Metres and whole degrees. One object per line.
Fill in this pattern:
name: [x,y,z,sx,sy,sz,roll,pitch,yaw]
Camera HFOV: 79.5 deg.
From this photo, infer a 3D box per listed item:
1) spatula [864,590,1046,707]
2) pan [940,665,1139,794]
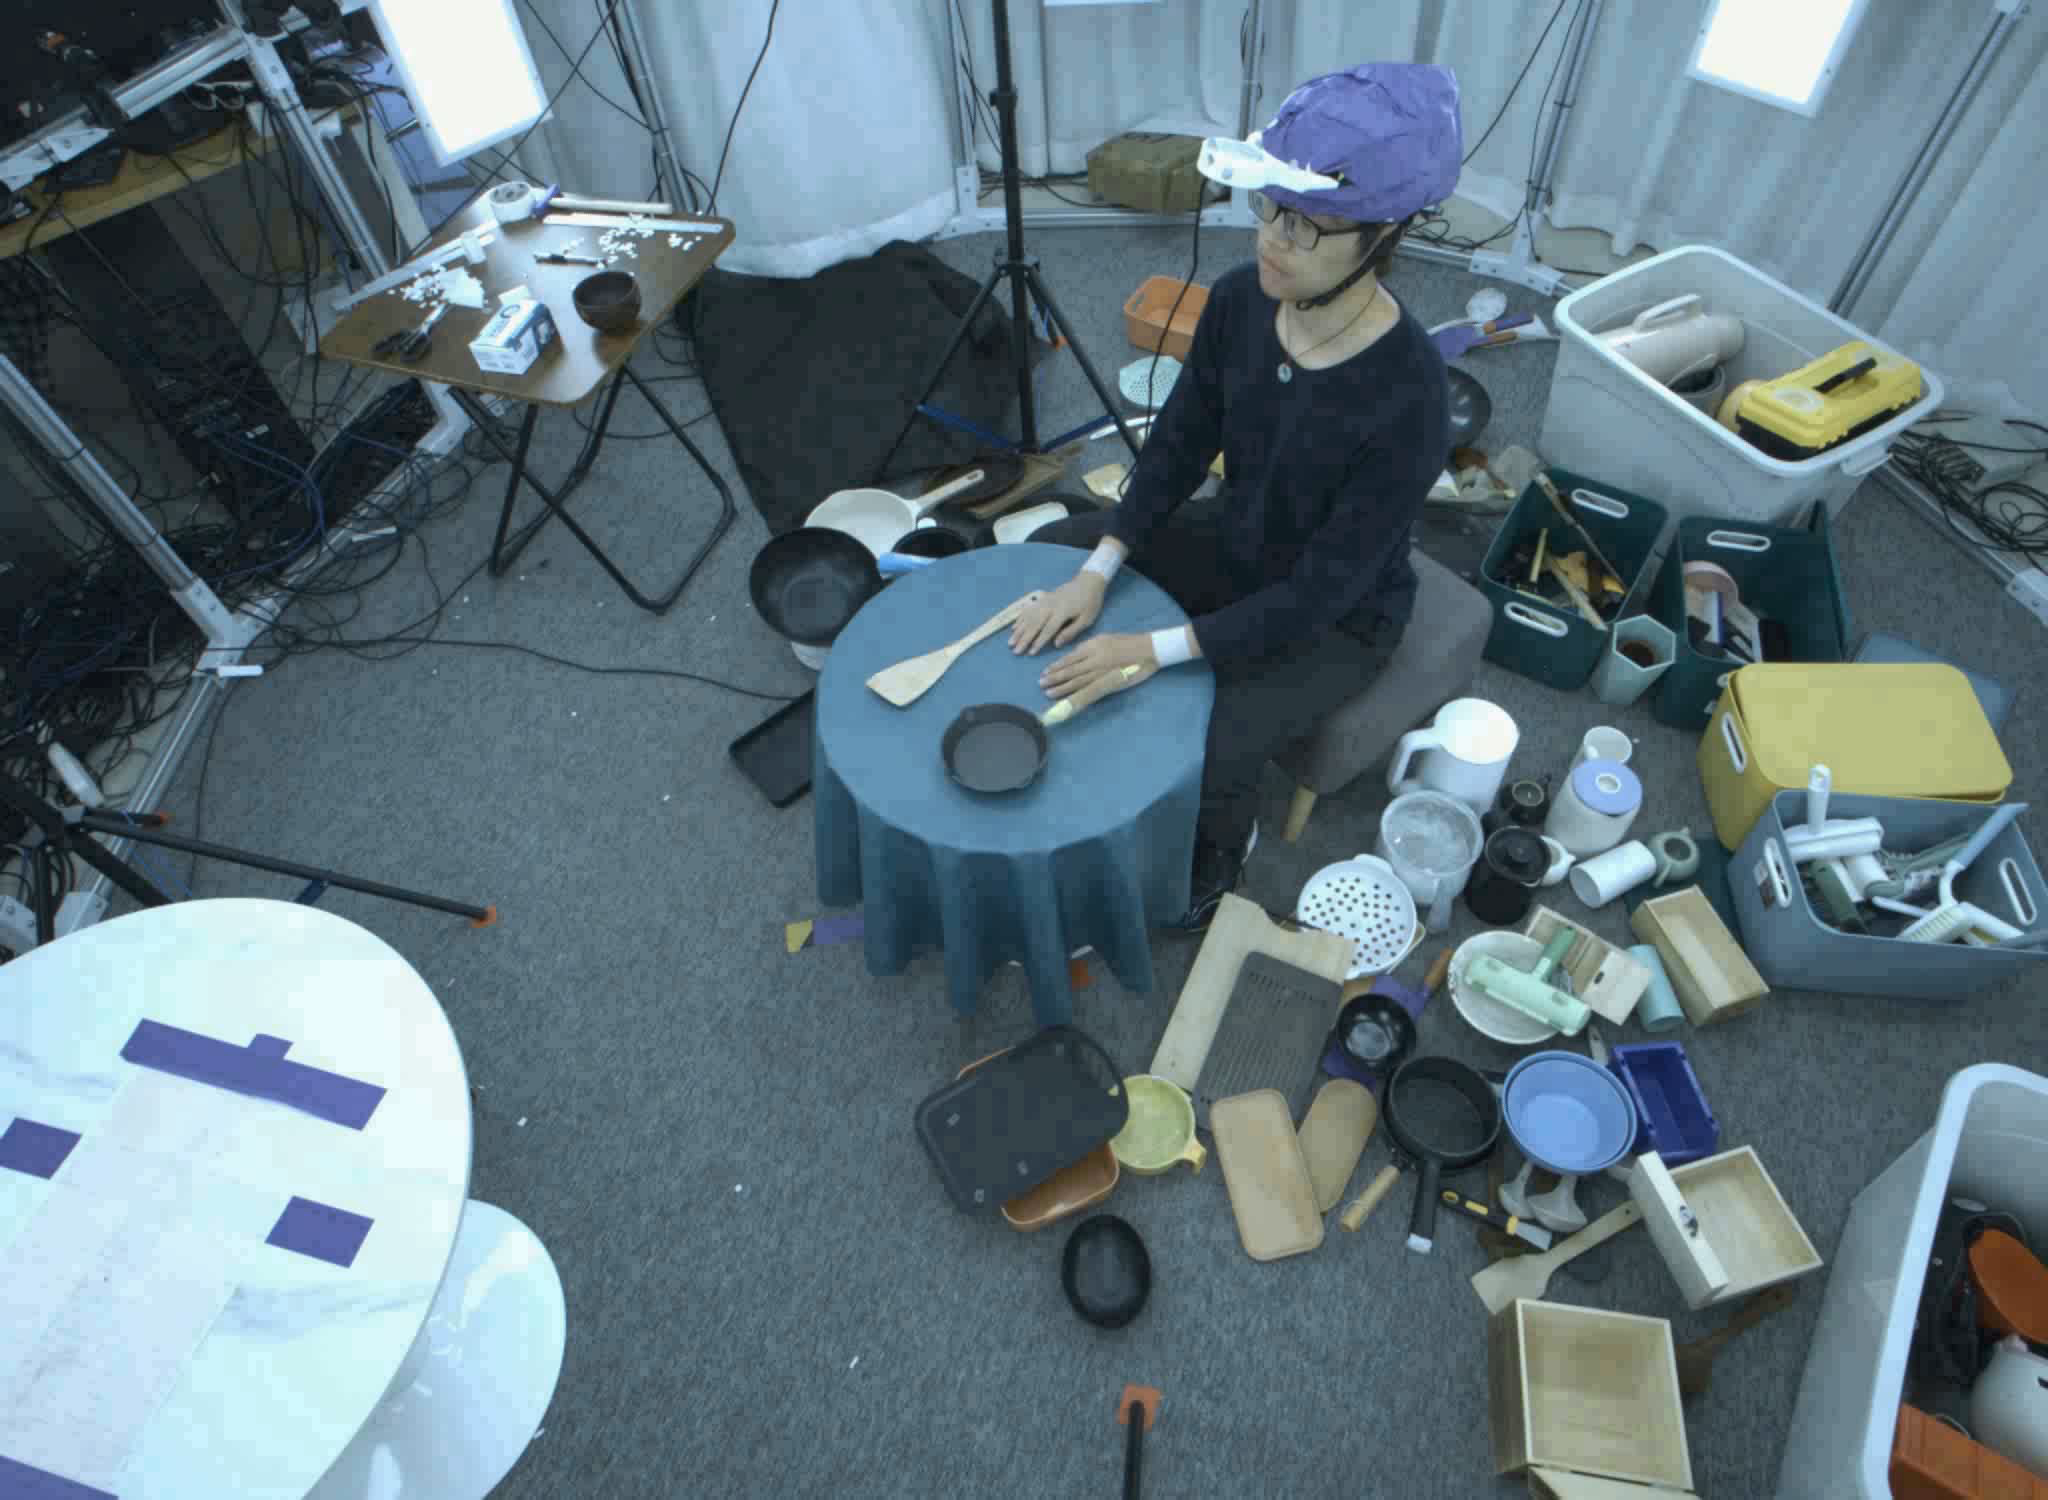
spatula: [-0.094,-0.165,1.897,0.330,0.017,0.078,-35,62,-21]
pan: [0.031,-0.040,1.783,0.326,0.050,0.166,-28,58,-14]
